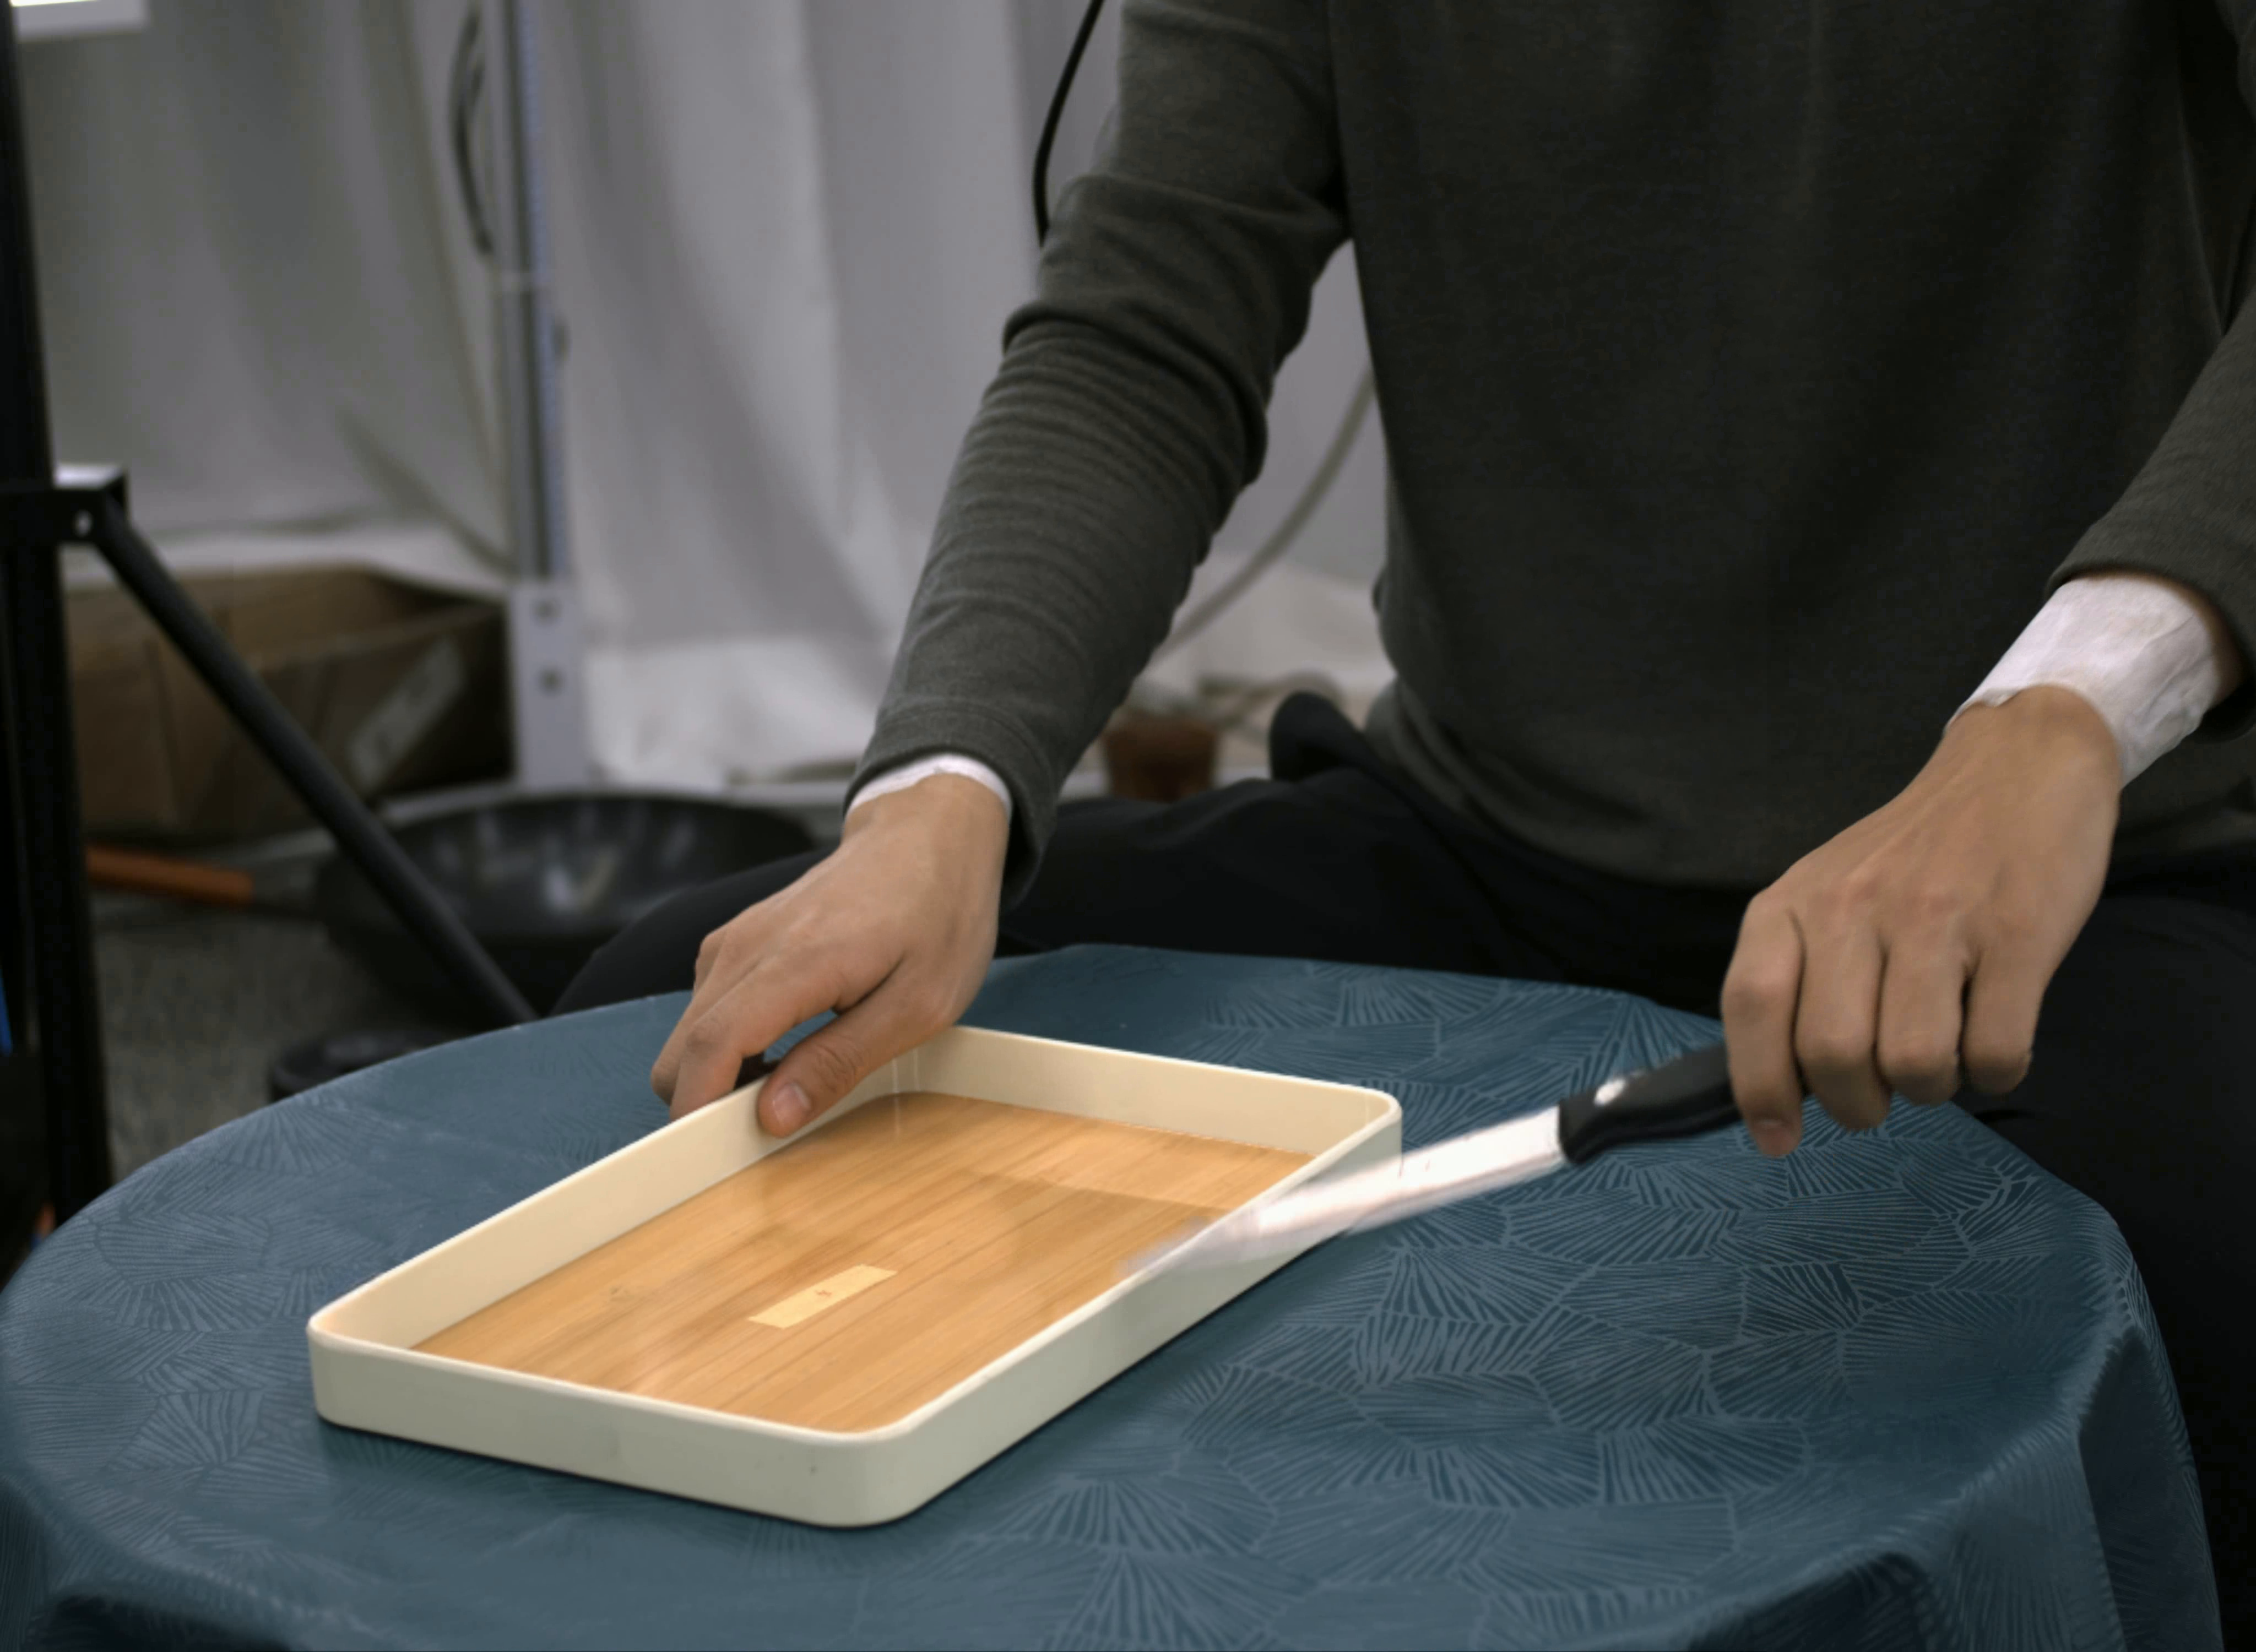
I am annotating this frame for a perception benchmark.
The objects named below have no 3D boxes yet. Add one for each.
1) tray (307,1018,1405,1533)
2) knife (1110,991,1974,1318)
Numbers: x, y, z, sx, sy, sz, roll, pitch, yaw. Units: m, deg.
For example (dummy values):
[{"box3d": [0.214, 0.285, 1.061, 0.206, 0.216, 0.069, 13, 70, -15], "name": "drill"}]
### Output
[{"box3d": [-0.068, 0.119, 1.486, 0.195, 0.027, 0.295, 9, 19, 31], "name": "tray"}, {"box3d": [0.106, 0.088, 1.387, 0.238, 0.016, 0.025, -20, 28, 7], "name": "knife"}]
